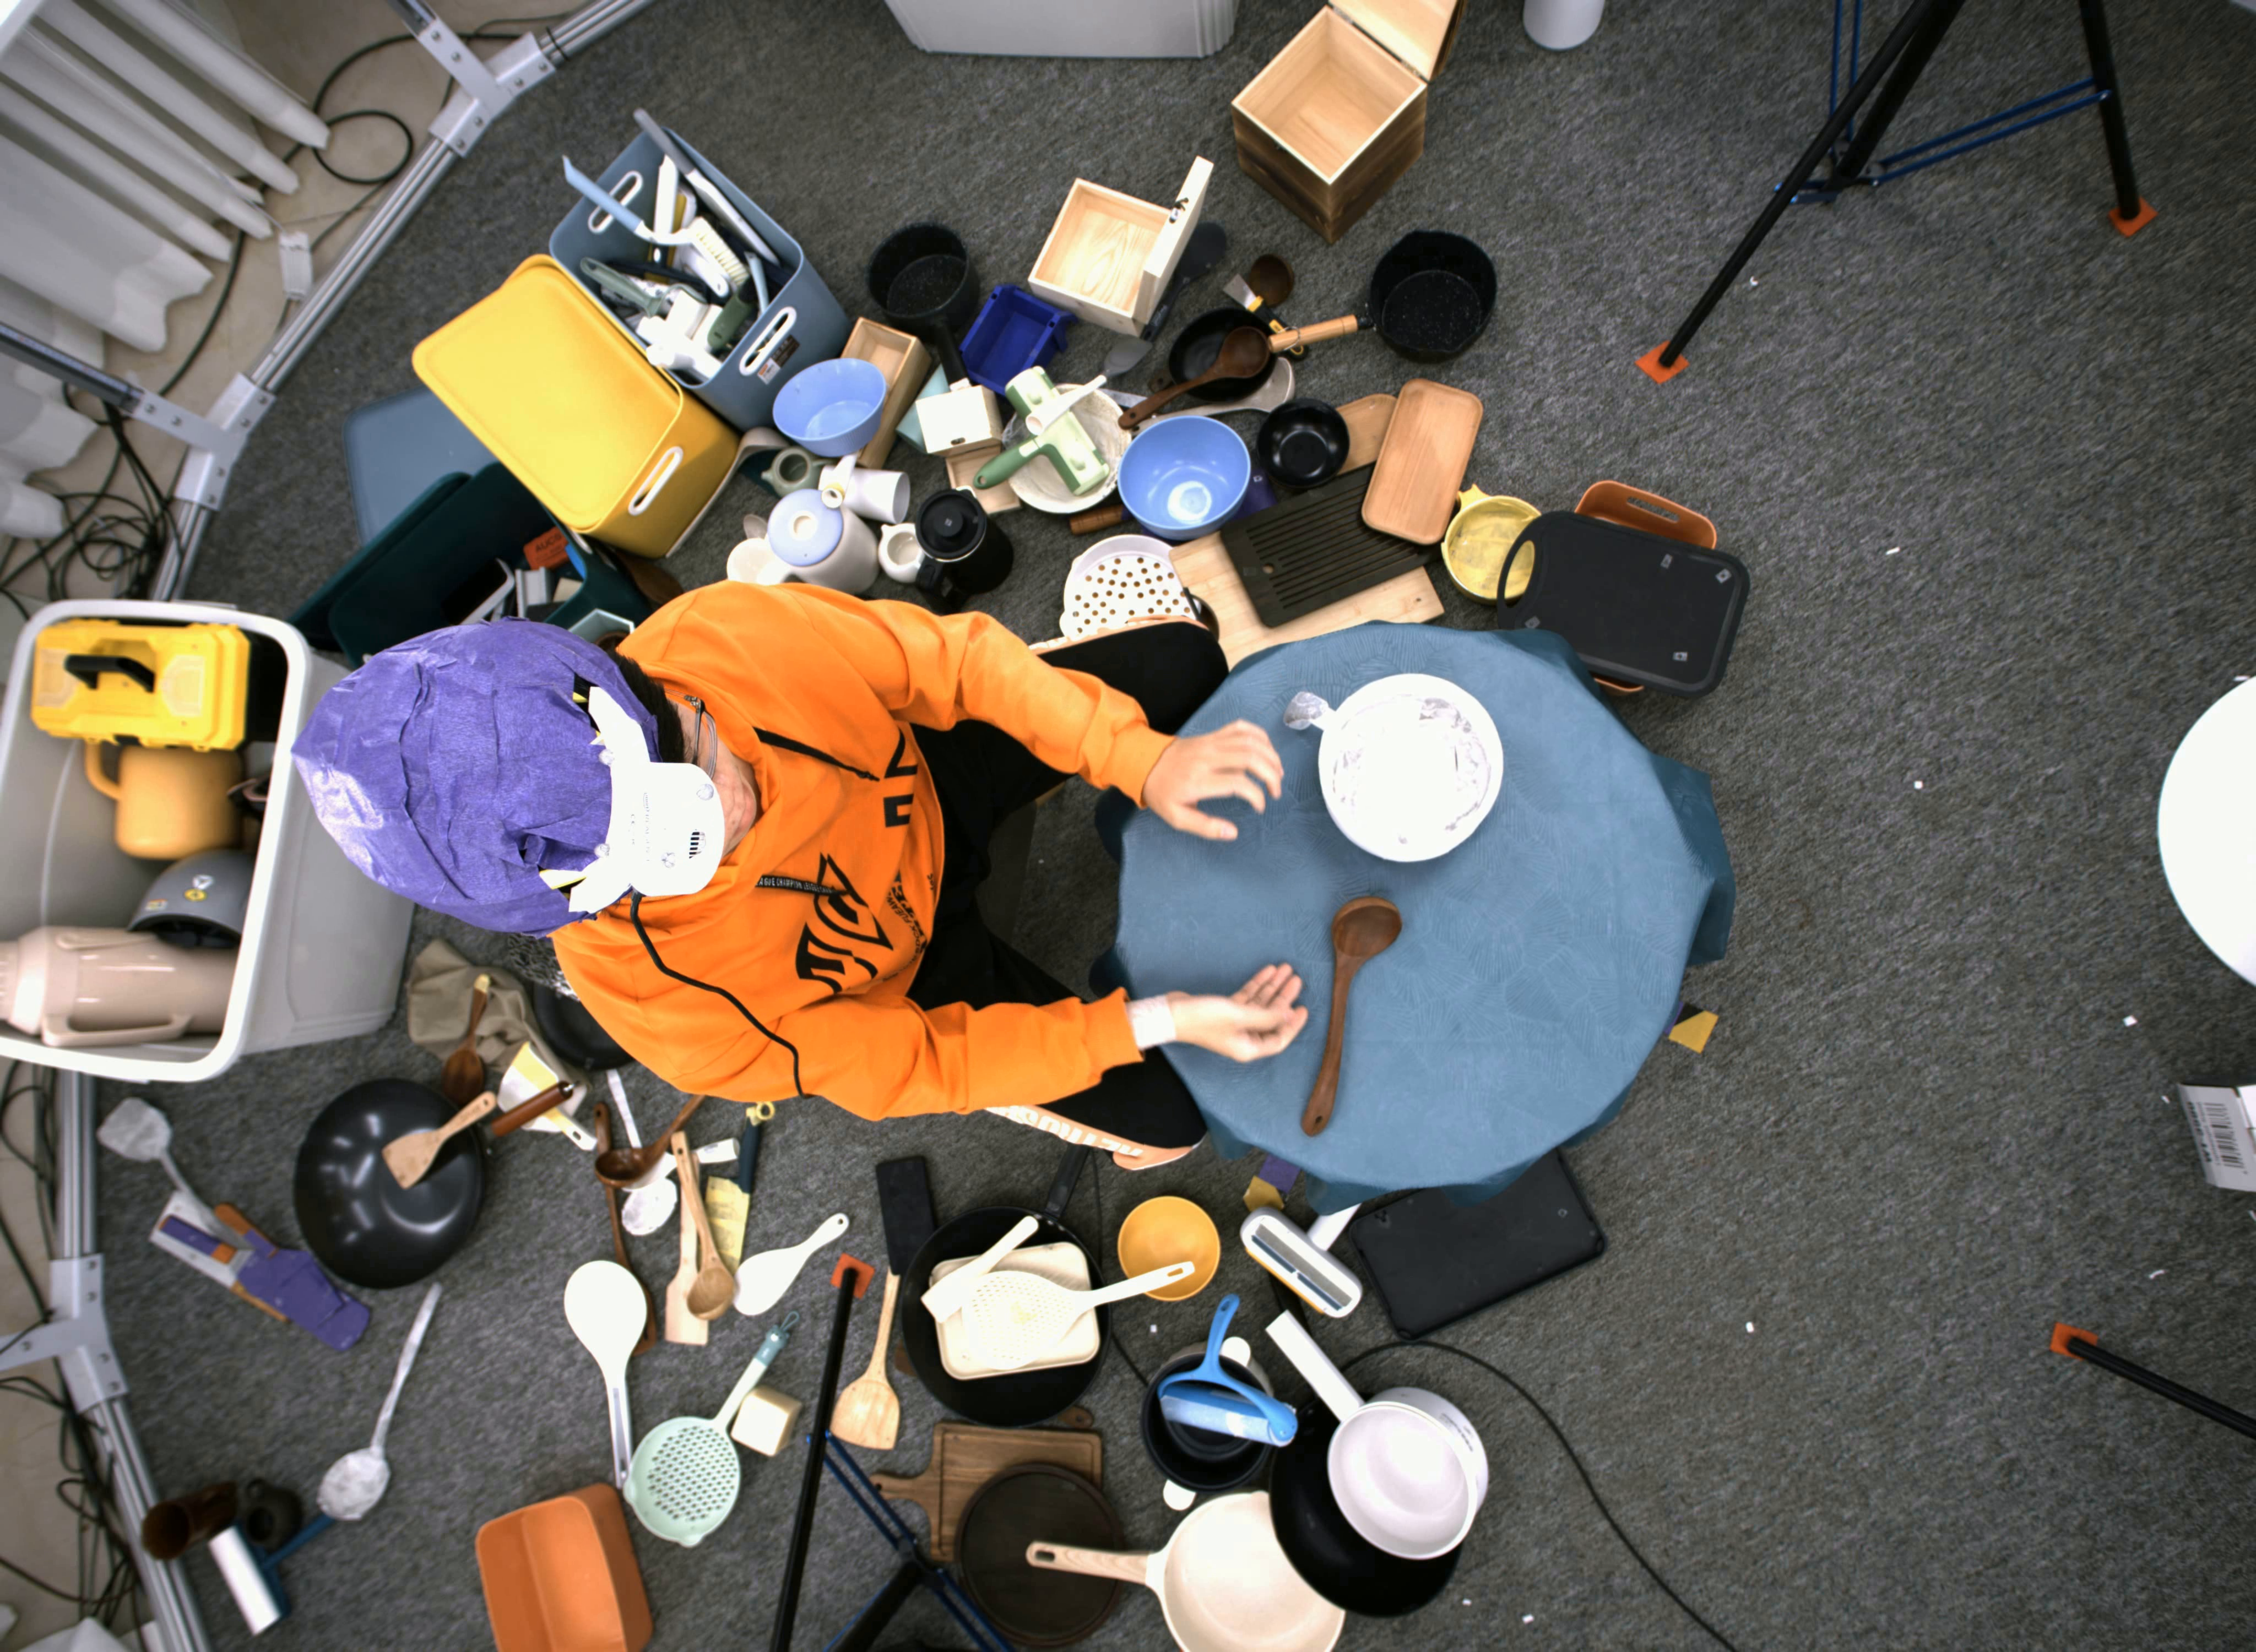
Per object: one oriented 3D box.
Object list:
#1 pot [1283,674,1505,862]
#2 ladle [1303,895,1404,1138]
[{"bbox_3d":[0.261,-0.070,1.400,0.233,0.137,0.179,31,91,11],"label":"pot"},{"bbox_3d":[0.226,0.197,1.430,0.076,0.065,0.259,13,88,-14],"label":"ladle"}]
